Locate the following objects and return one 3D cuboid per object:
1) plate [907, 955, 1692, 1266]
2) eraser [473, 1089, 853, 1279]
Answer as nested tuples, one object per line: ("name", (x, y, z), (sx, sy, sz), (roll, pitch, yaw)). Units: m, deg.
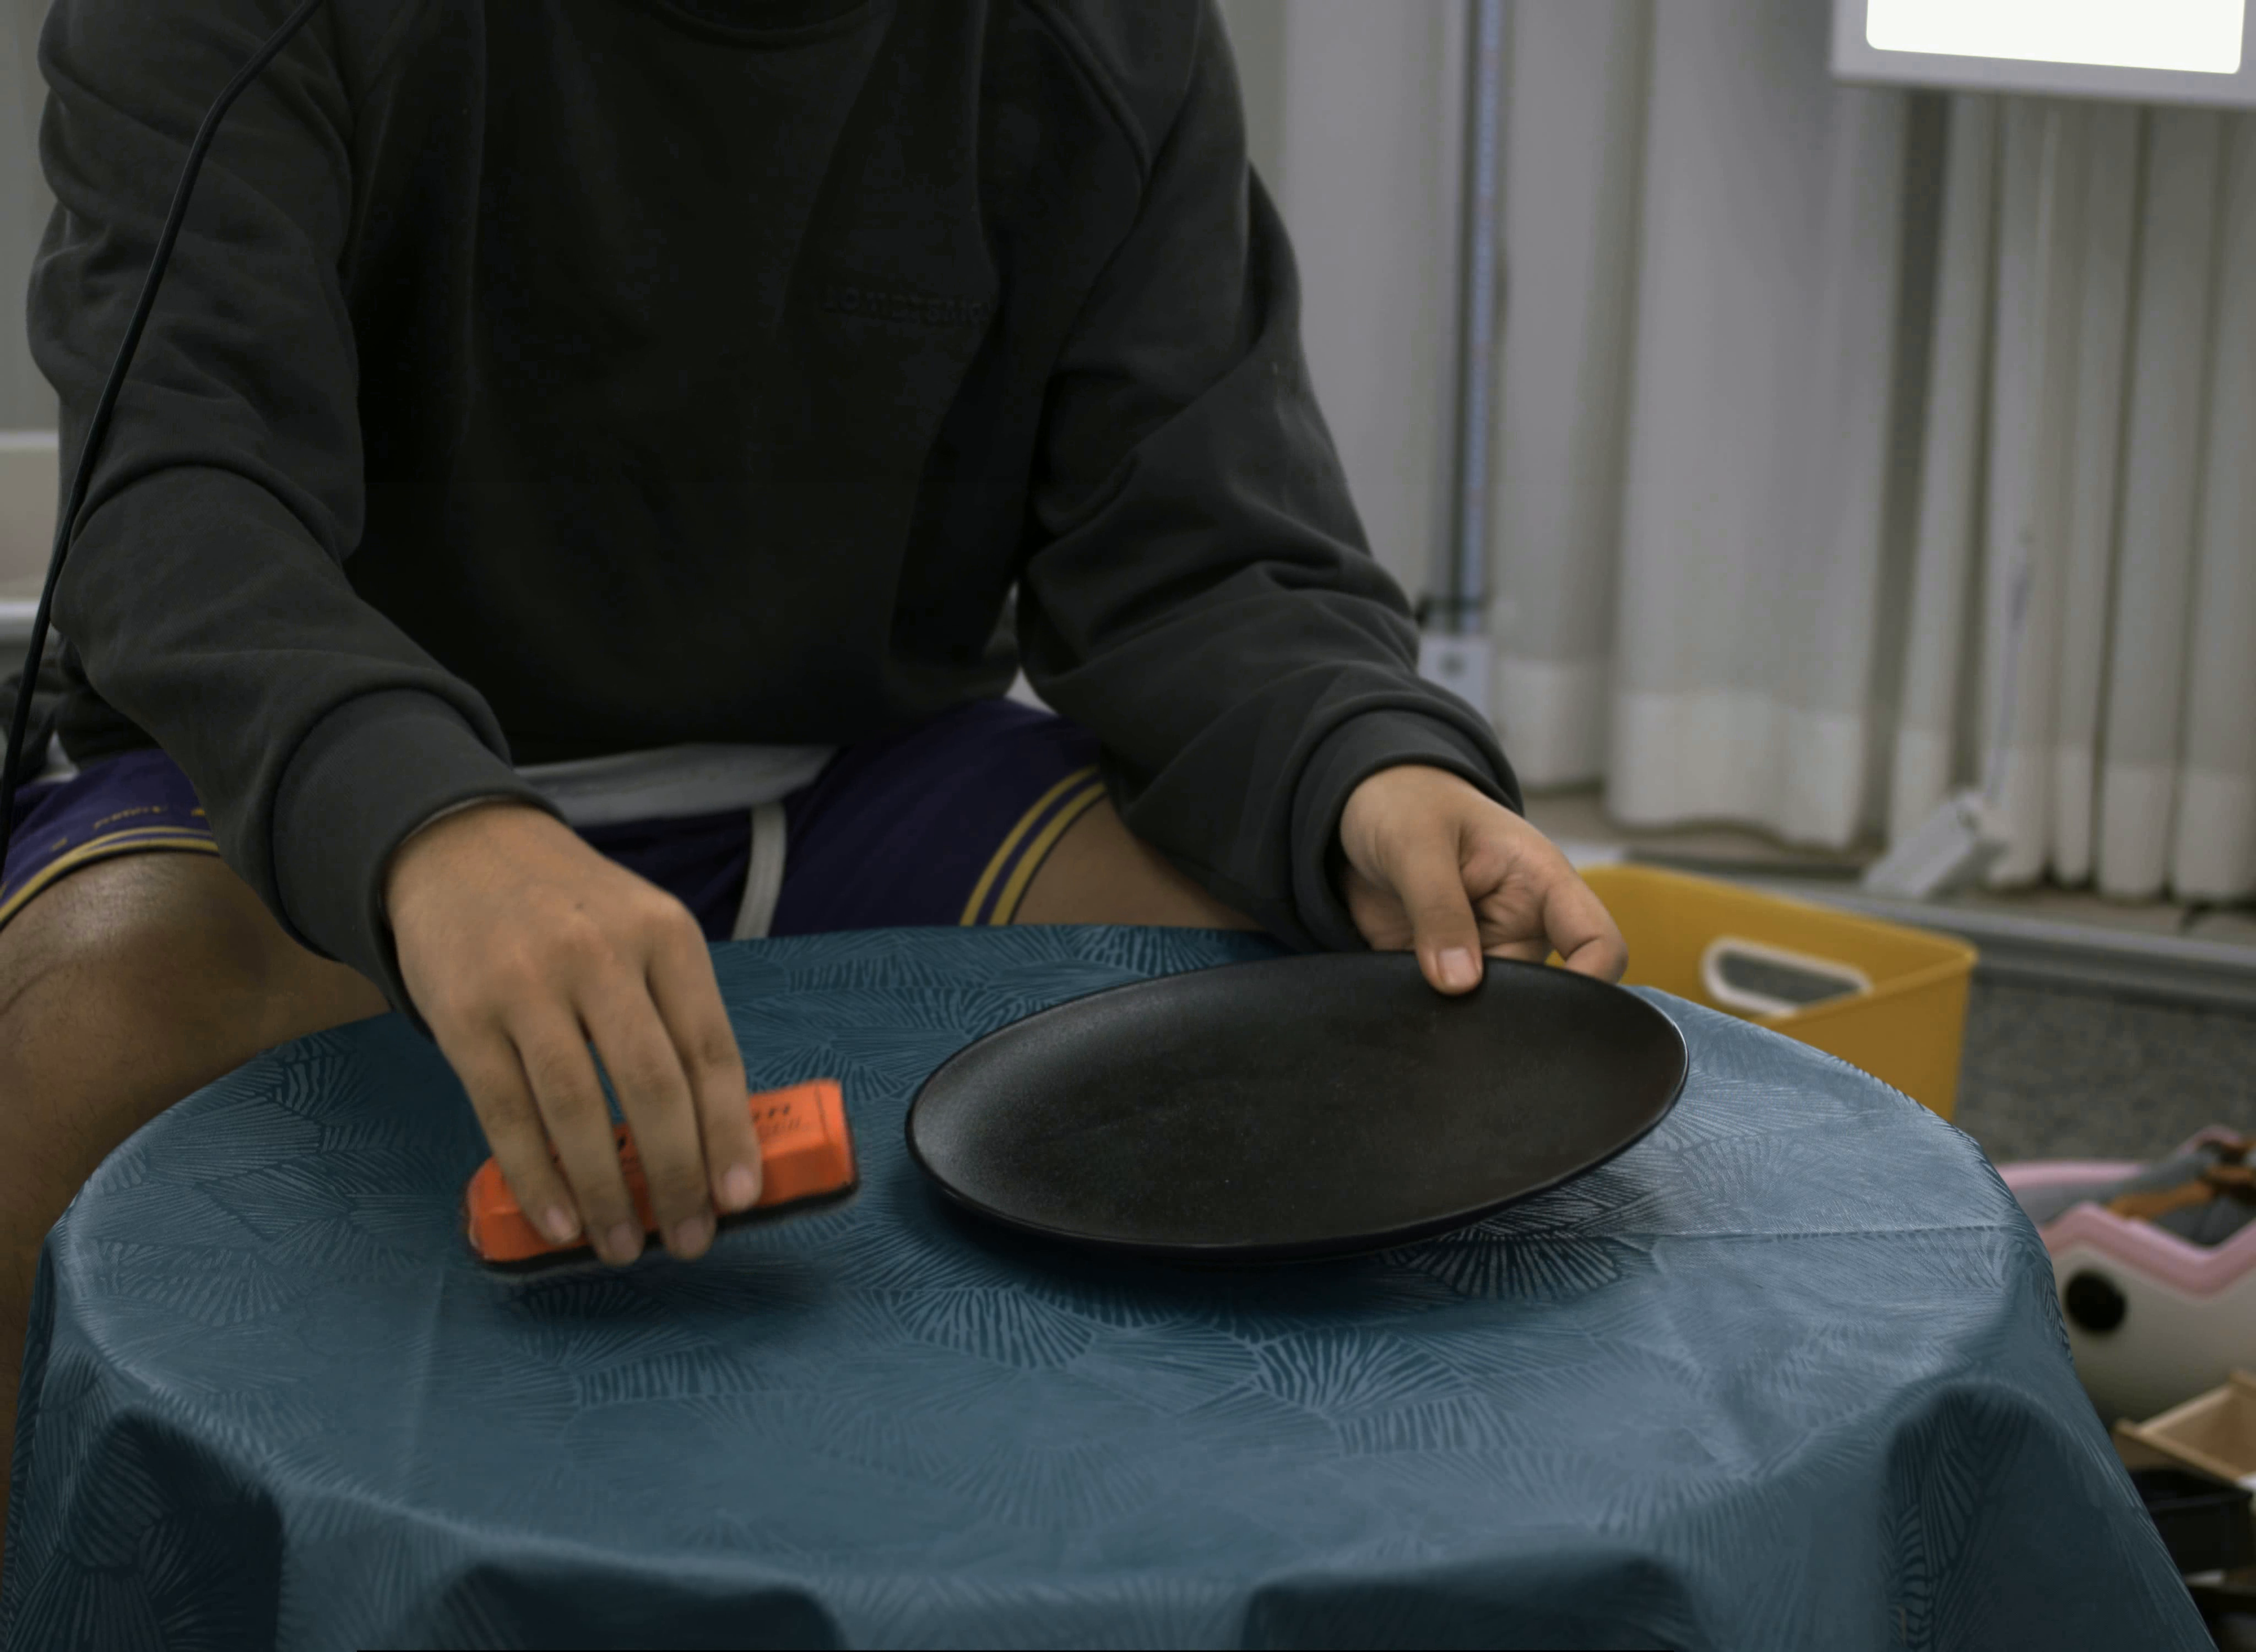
("plate", (0.053, 0.090, 1.626), (0.243, 0.023, 0.243), (-5, 18, 2))
("eraser", (-0.135, 0.104, 1.529), (0.108, 0.023, 0.058), (-10, 17, -5))
